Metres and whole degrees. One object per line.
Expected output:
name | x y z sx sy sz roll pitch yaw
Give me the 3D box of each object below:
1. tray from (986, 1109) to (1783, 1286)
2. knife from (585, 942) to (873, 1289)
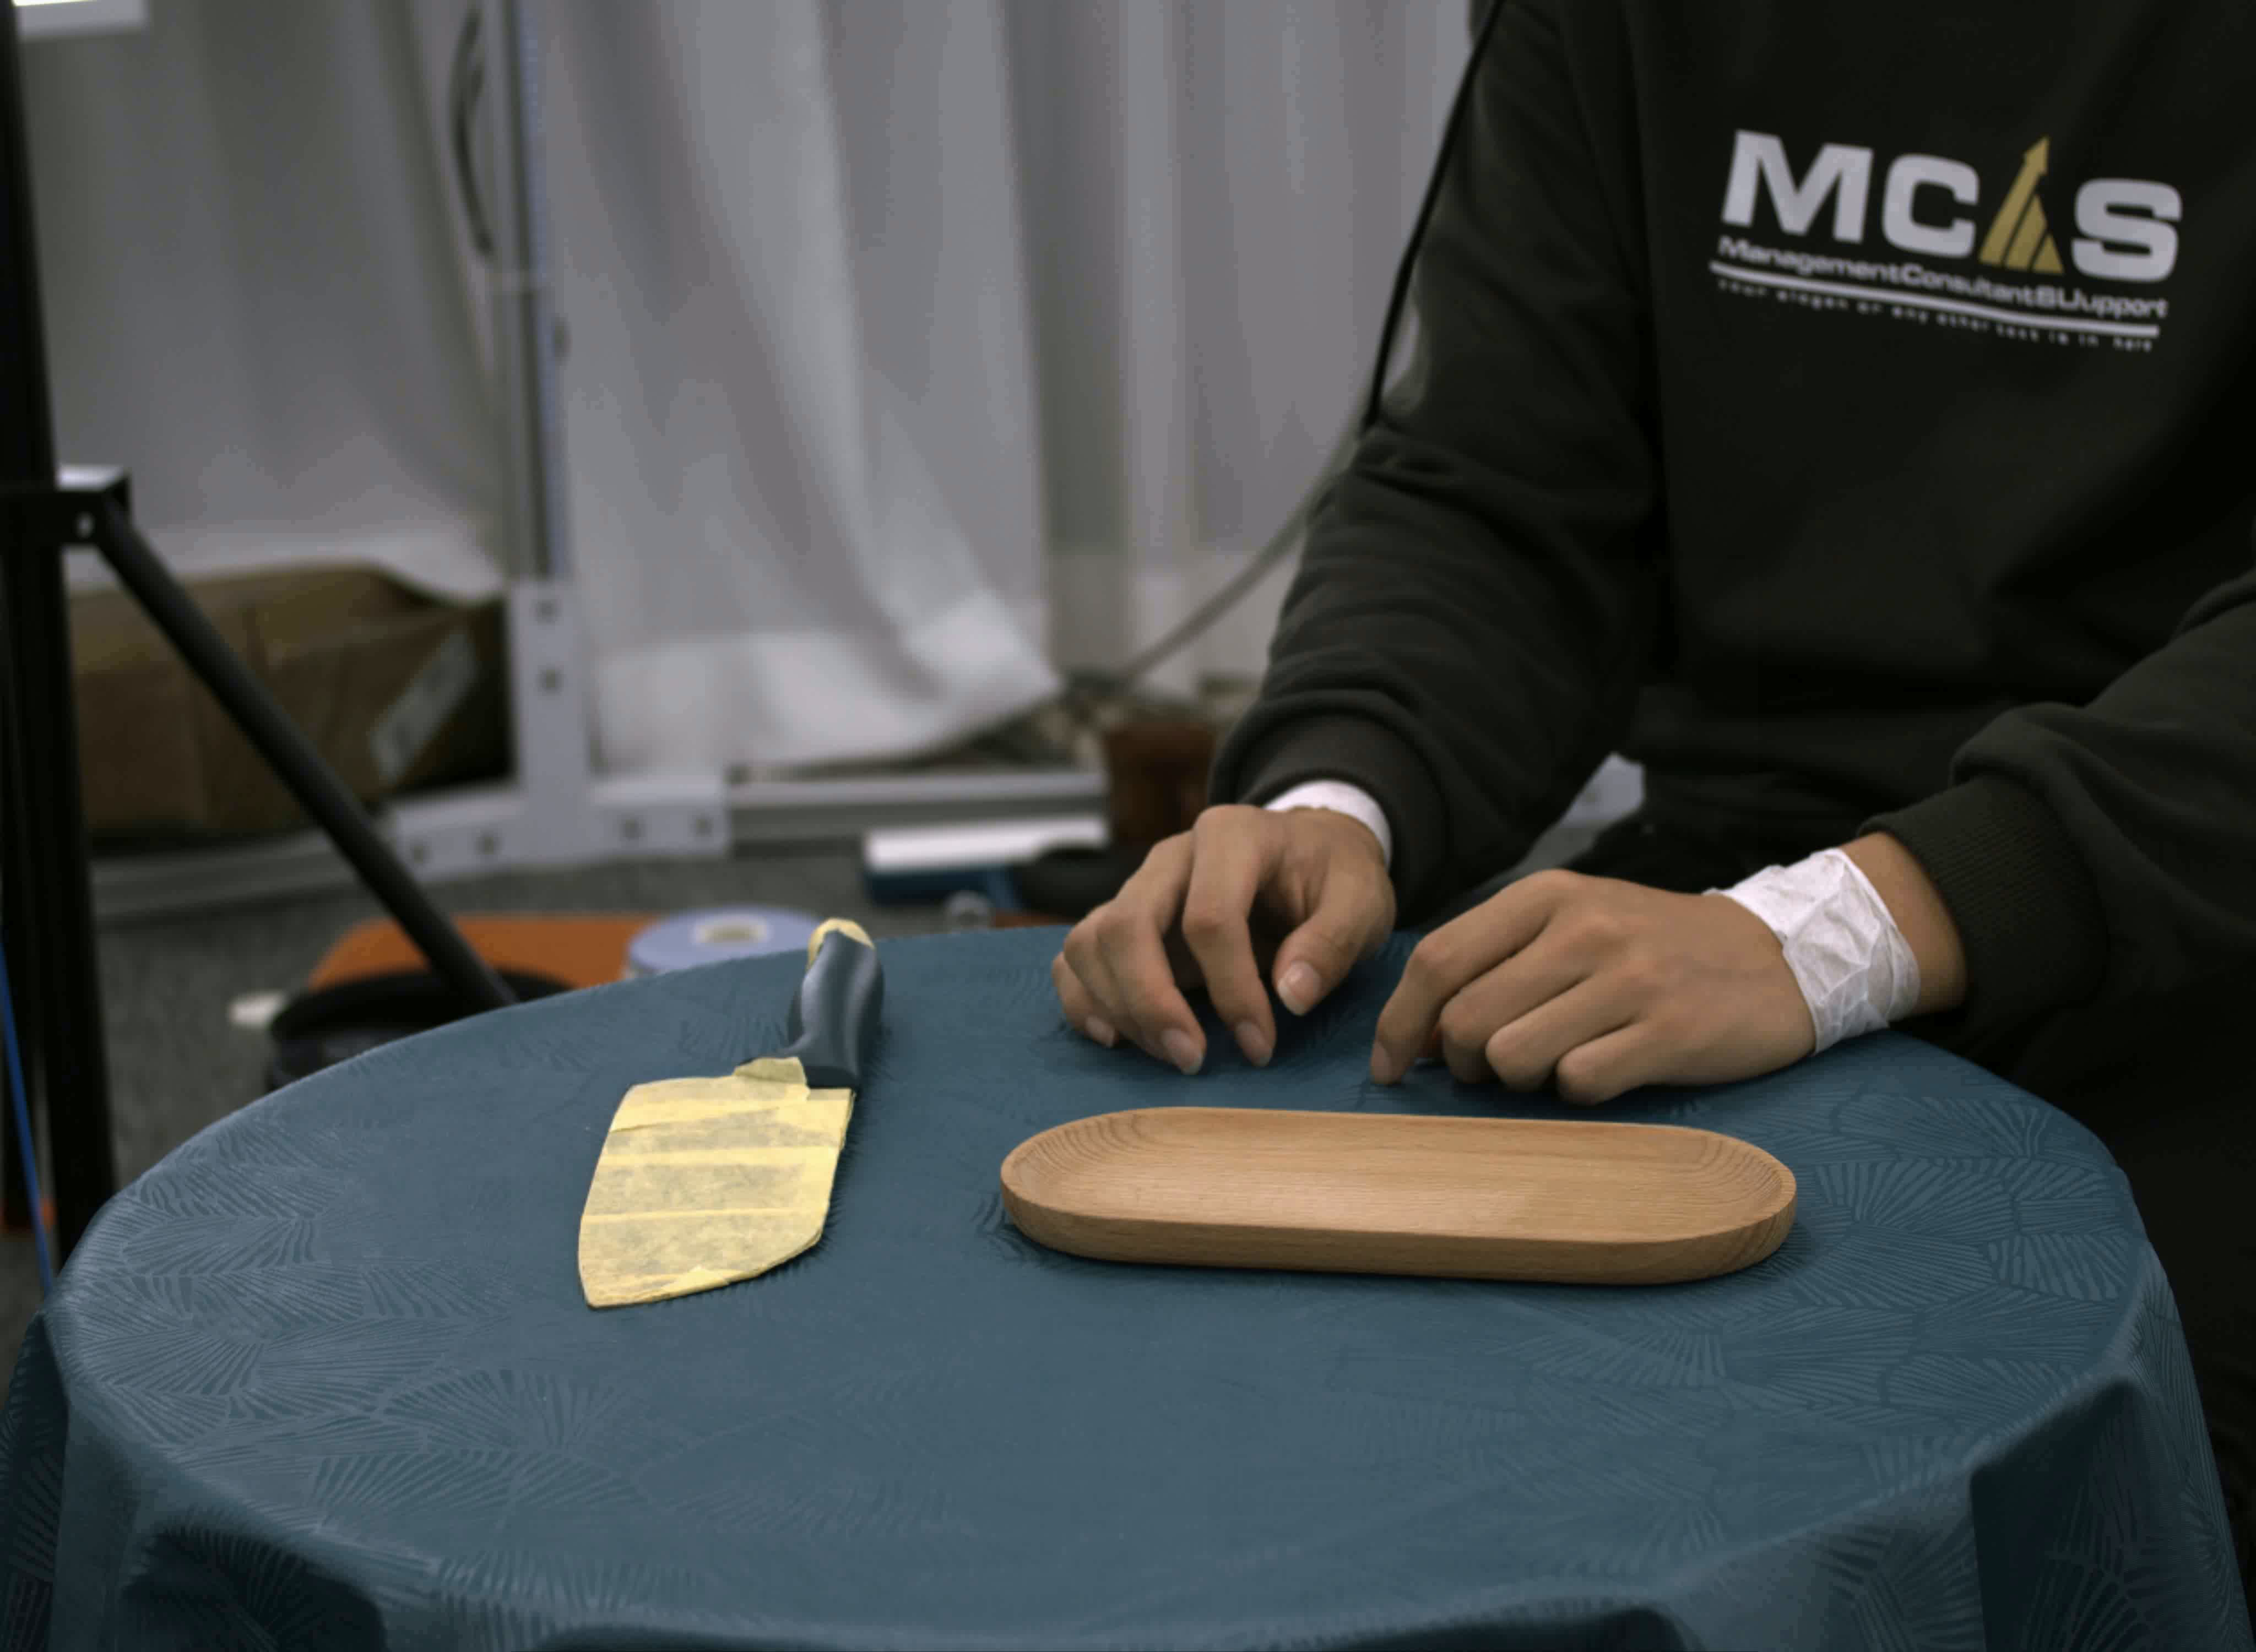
tray | 0.073 0.107 1.524 0.233 0.020 0.101 0 15 15
knife | -0.118 0.088 1.625 0.081 0.027 0.289 1 17 5
